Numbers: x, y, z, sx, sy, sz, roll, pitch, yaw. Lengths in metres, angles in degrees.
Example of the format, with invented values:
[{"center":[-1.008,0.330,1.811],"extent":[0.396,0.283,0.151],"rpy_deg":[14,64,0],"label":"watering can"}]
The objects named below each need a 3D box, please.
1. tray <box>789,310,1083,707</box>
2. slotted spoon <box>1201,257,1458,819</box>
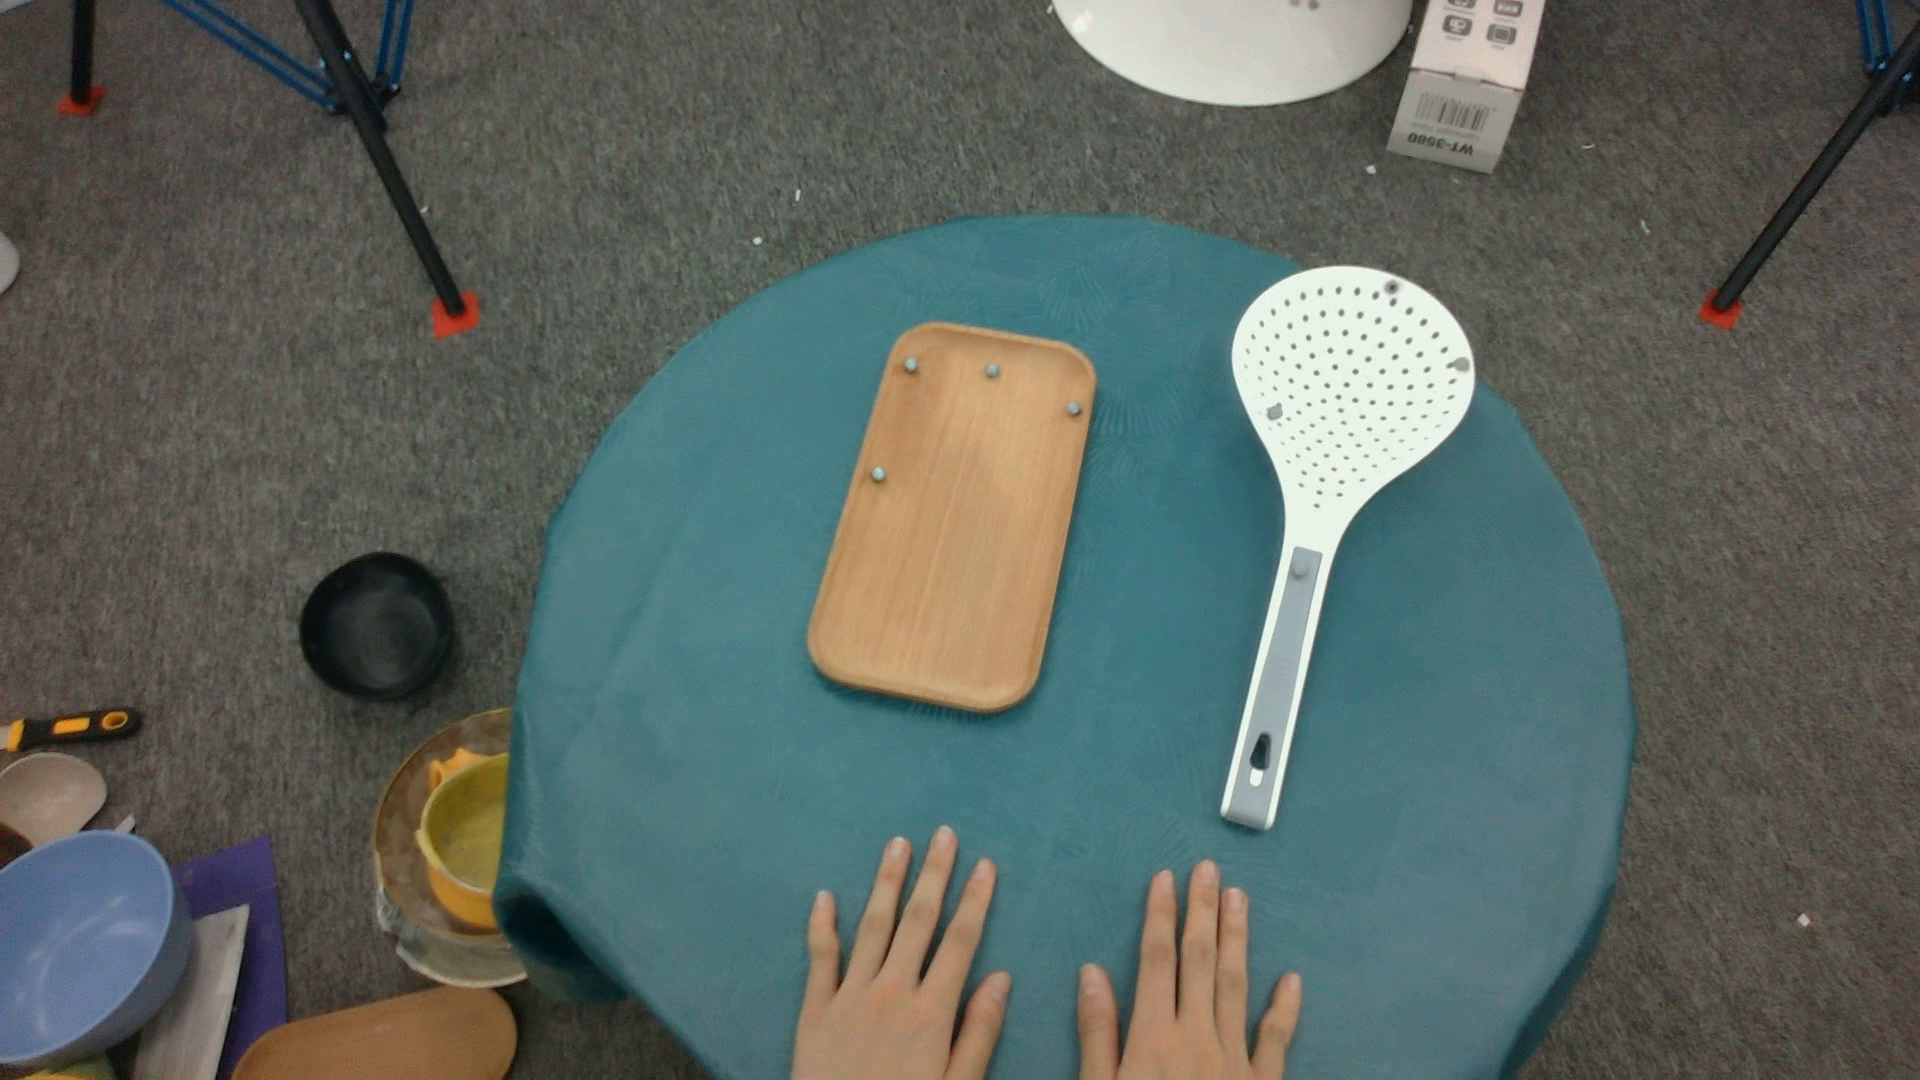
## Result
[{"center":[-0.009,-0.025,0.784],"extent":[0.130,0.023,0.252],"rpy_deg":[10,61,7],"label":"tray"},{"center":[0.188,-0.013,0.764],"extent":[0.136,0.045,0.351],"rpy_deg":[15,61,10],"label":"slotted spoon"}]
